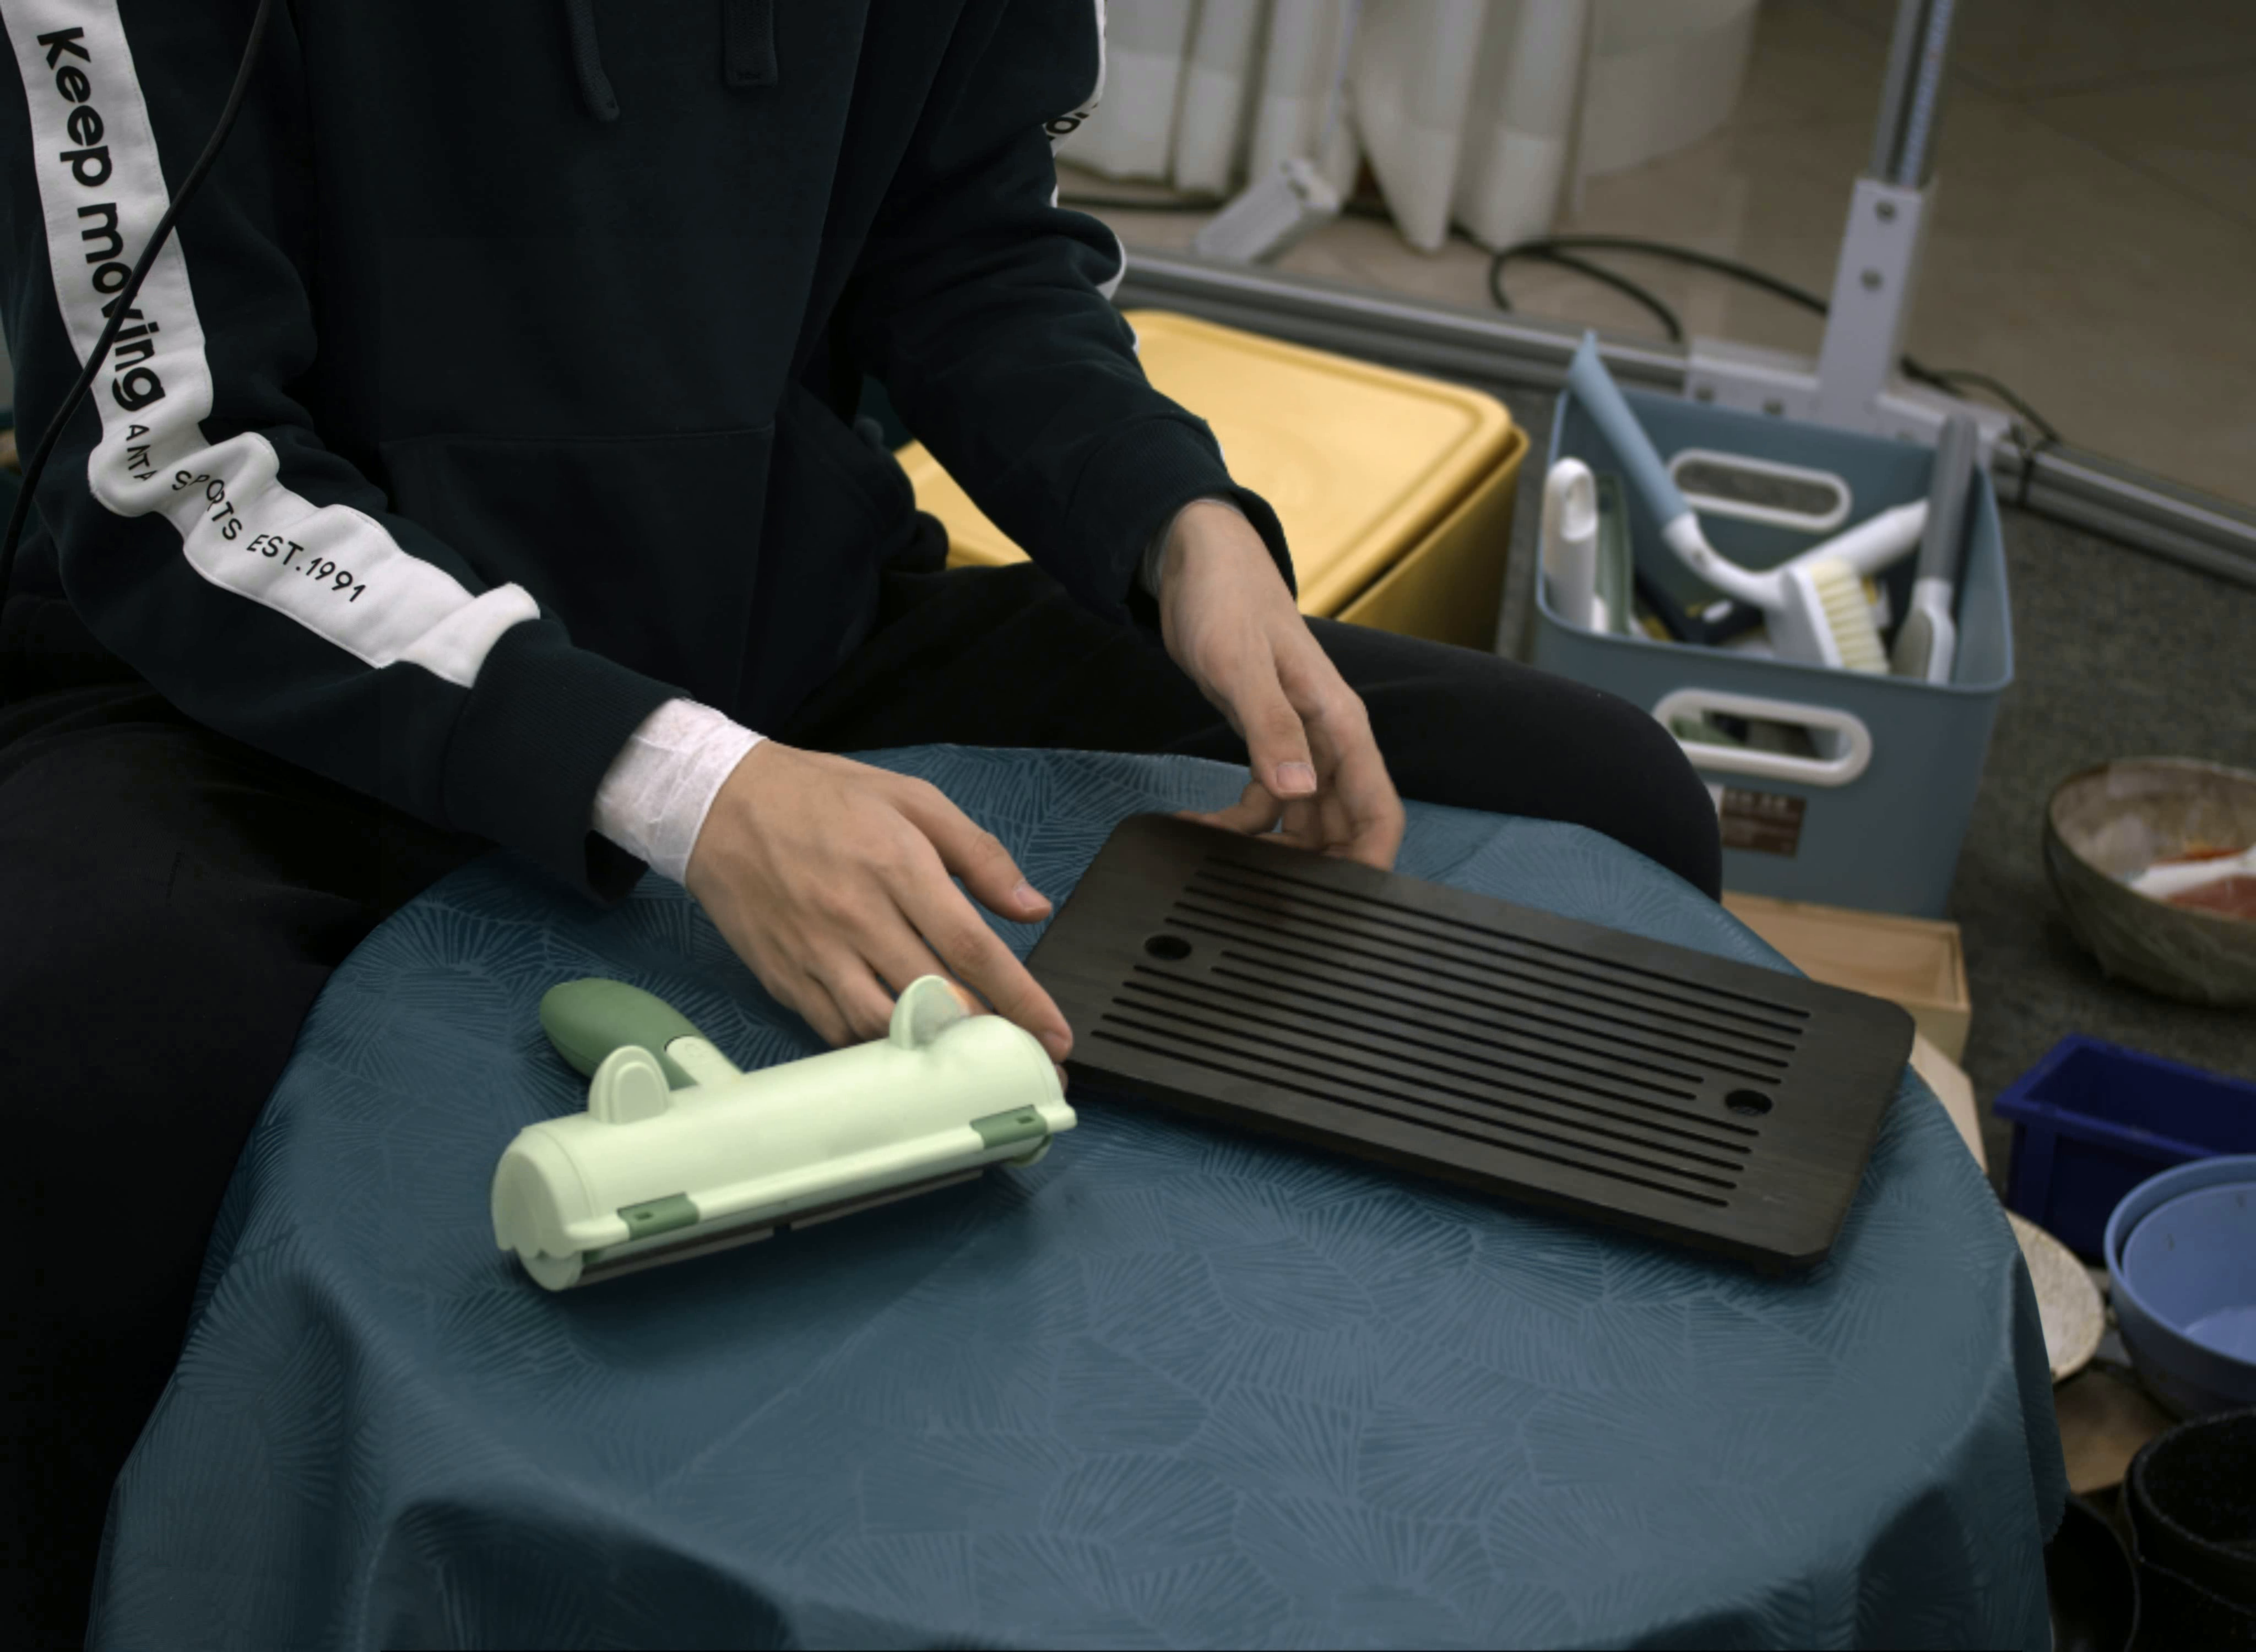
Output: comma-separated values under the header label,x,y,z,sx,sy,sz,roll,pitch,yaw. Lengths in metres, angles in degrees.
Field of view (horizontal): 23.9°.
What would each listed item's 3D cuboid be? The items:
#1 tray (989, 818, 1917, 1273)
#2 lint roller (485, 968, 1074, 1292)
label,x,y,z,sx,sy,sz,roll,pitch,yaw
tray,0.117,0.076,1.885,0.306,0.018,0.170,14,32,14
lint roller,-0.144,0.074,1.777,0.197,0.082,0.185,-13,36,-33
